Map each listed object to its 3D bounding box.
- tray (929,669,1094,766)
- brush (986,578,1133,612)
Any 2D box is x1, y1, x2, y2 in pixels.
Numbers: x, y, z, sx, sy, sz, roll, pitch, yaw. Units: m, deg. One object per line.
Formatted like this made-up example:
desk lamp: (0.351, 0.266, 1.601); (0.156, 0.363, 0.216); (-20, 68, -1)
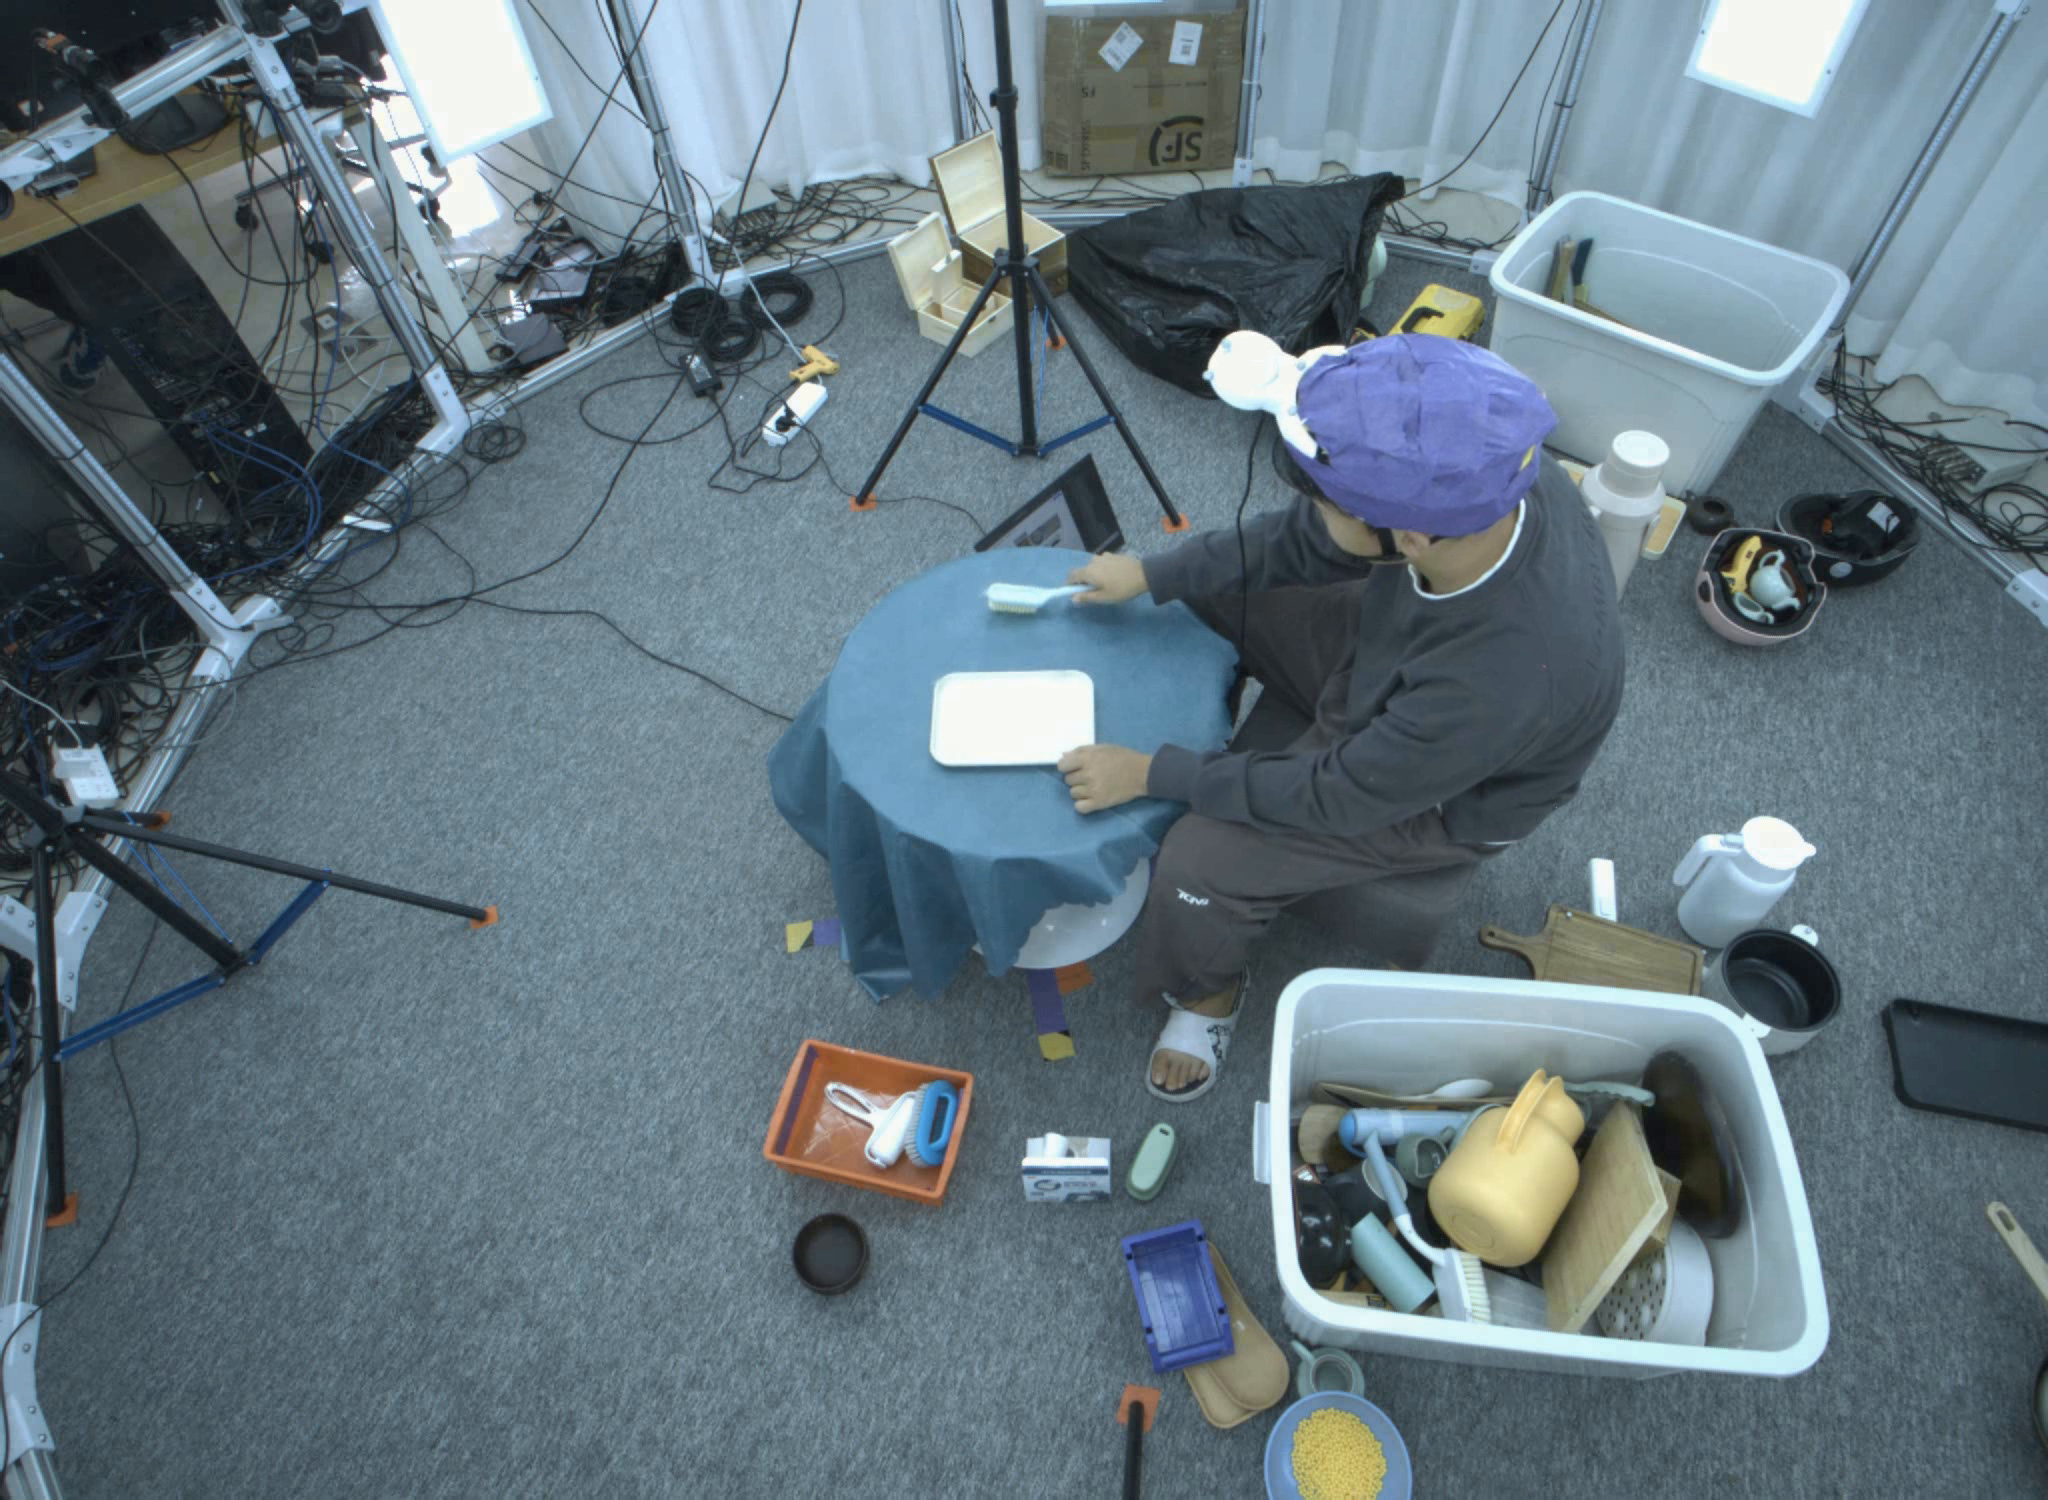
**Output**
tray: (-0.017, -0.047, 1.810); (0.239, 0.017, 0.169); (-1, 56, 1)
brush: (0.055, -0.244, 1.925); (0.228, 0.050, 0.037); (-5, 58, 1)
